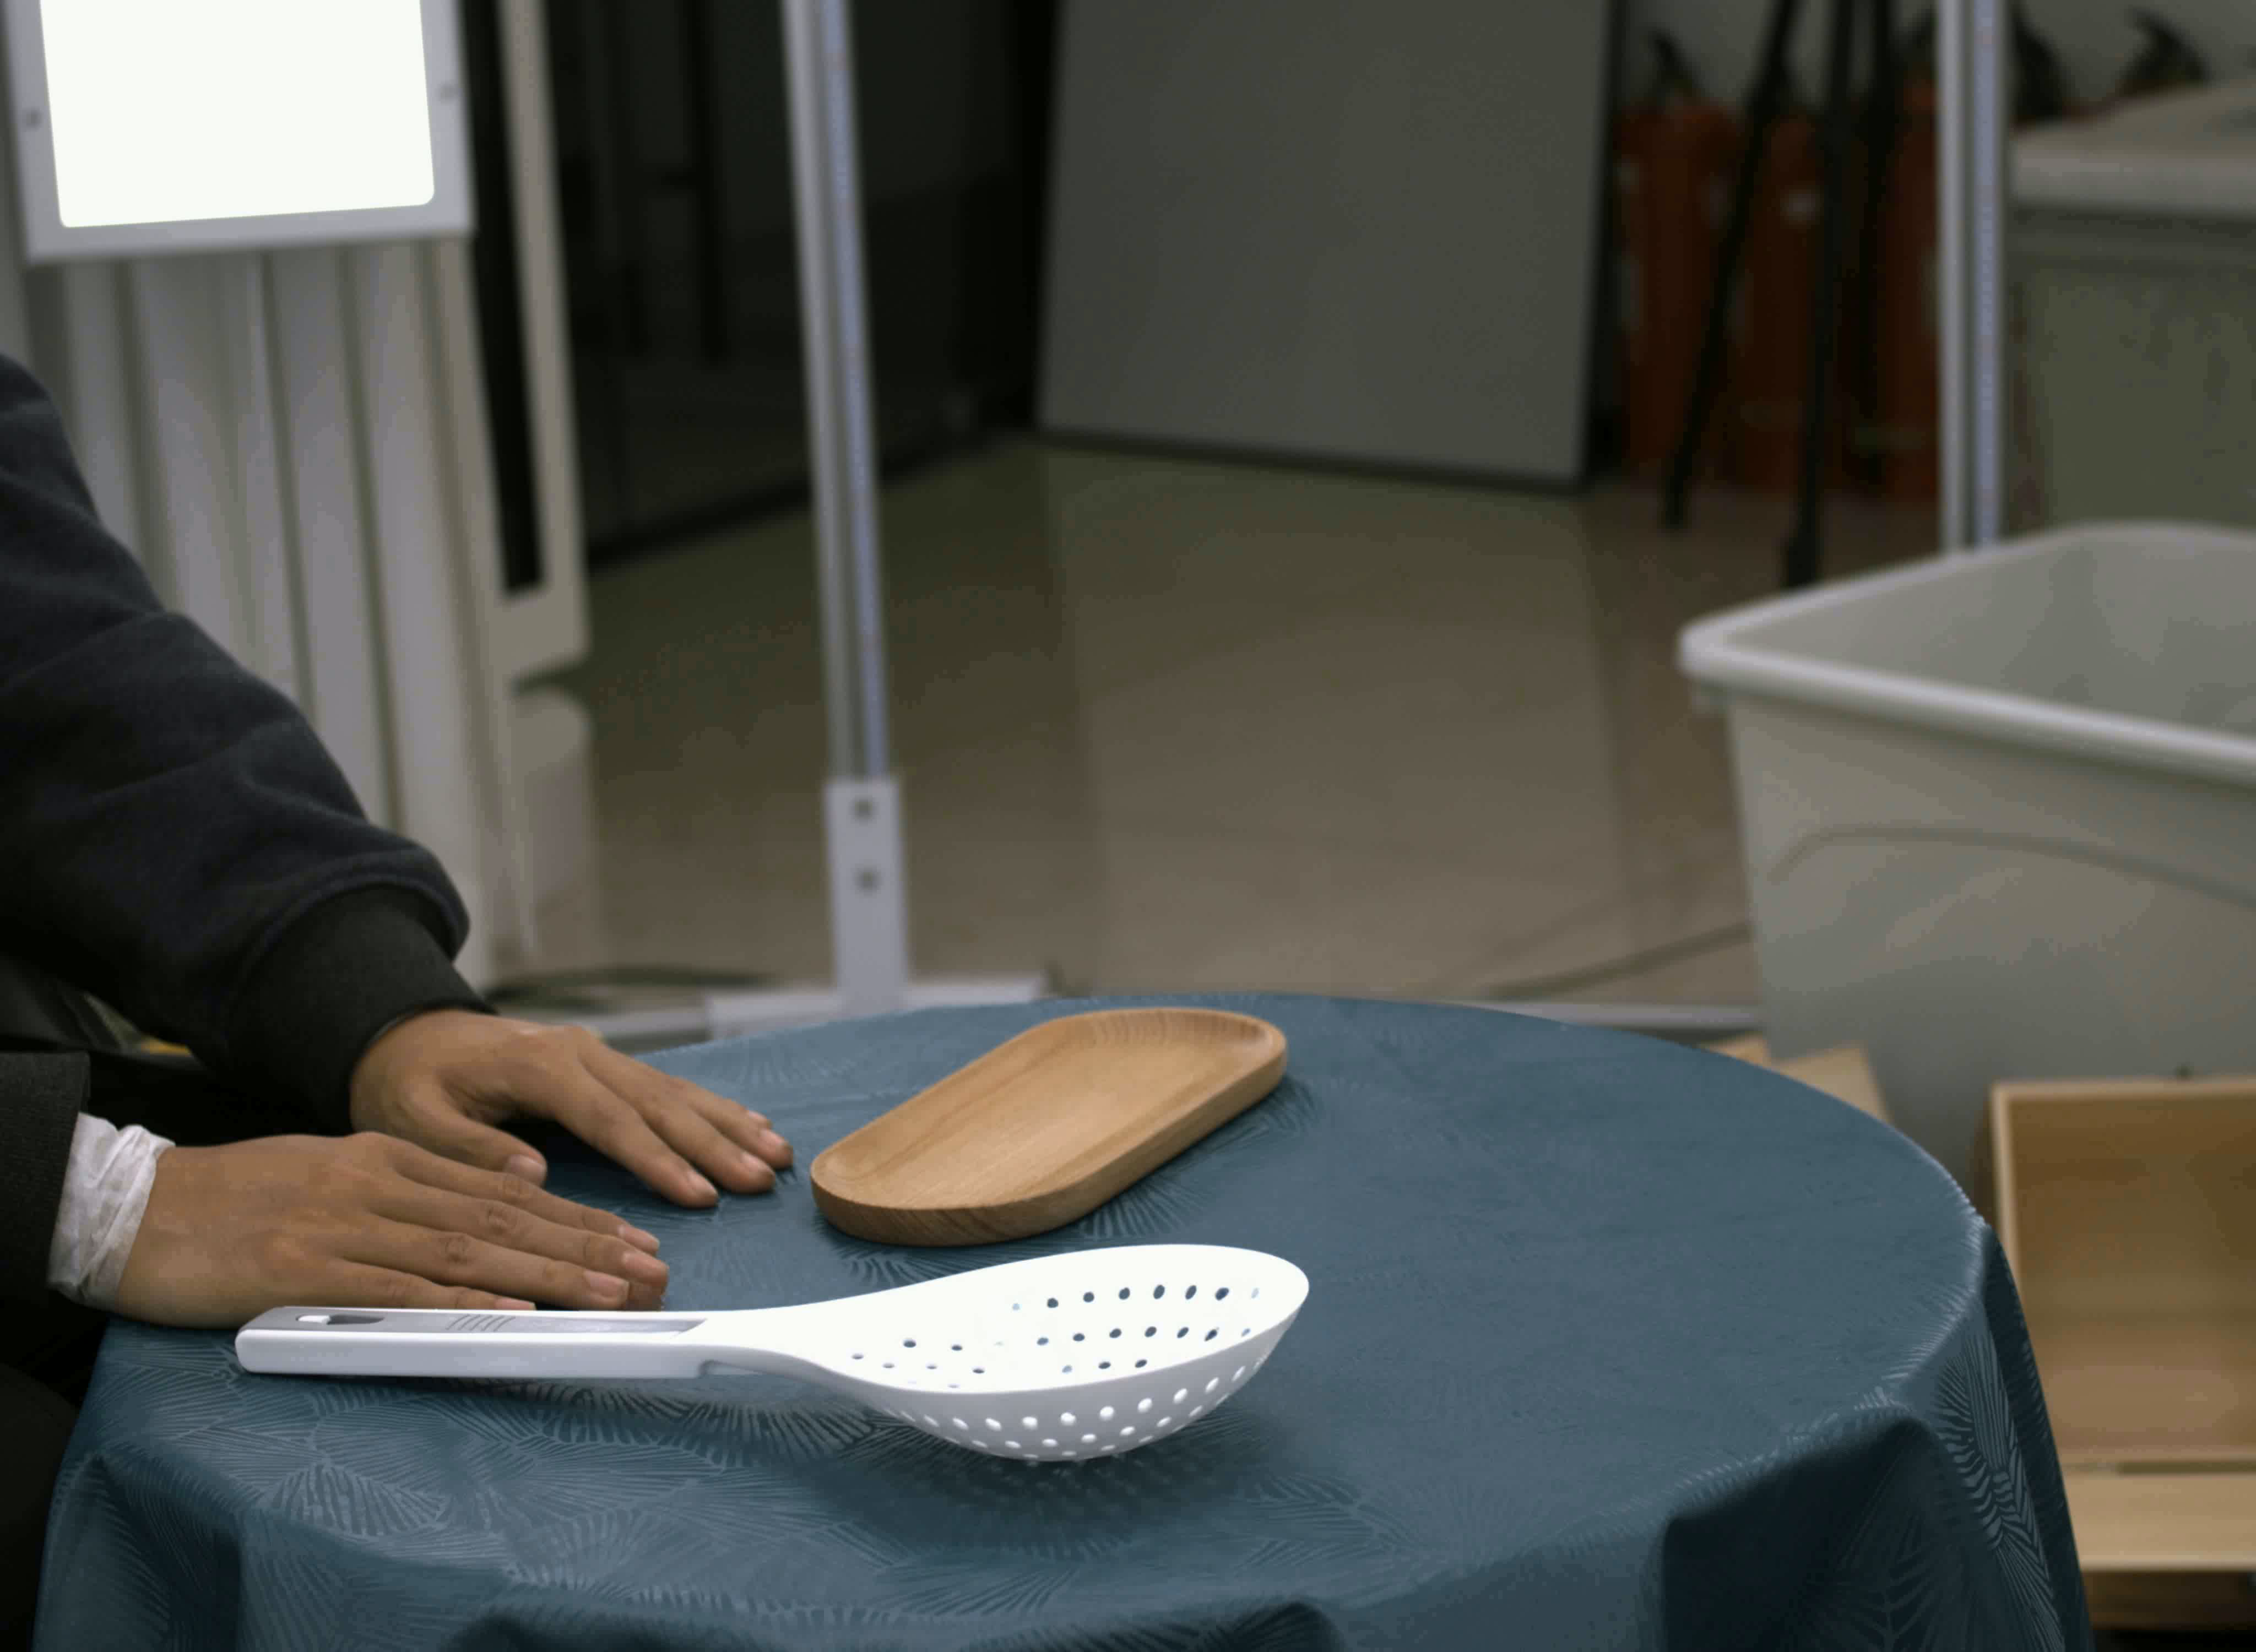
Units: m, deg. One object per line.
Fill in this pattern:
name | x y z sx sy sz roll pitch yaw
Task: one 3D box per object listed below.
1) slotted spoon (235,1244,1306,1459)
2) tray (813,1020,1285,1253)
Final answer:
slotted spoon | -0.111 0.151 1.580 0.350 0.046 0.134 1 13 25
tray | -0.024 0.103 1.817 0.102 0.020 0.228 1 16 27
